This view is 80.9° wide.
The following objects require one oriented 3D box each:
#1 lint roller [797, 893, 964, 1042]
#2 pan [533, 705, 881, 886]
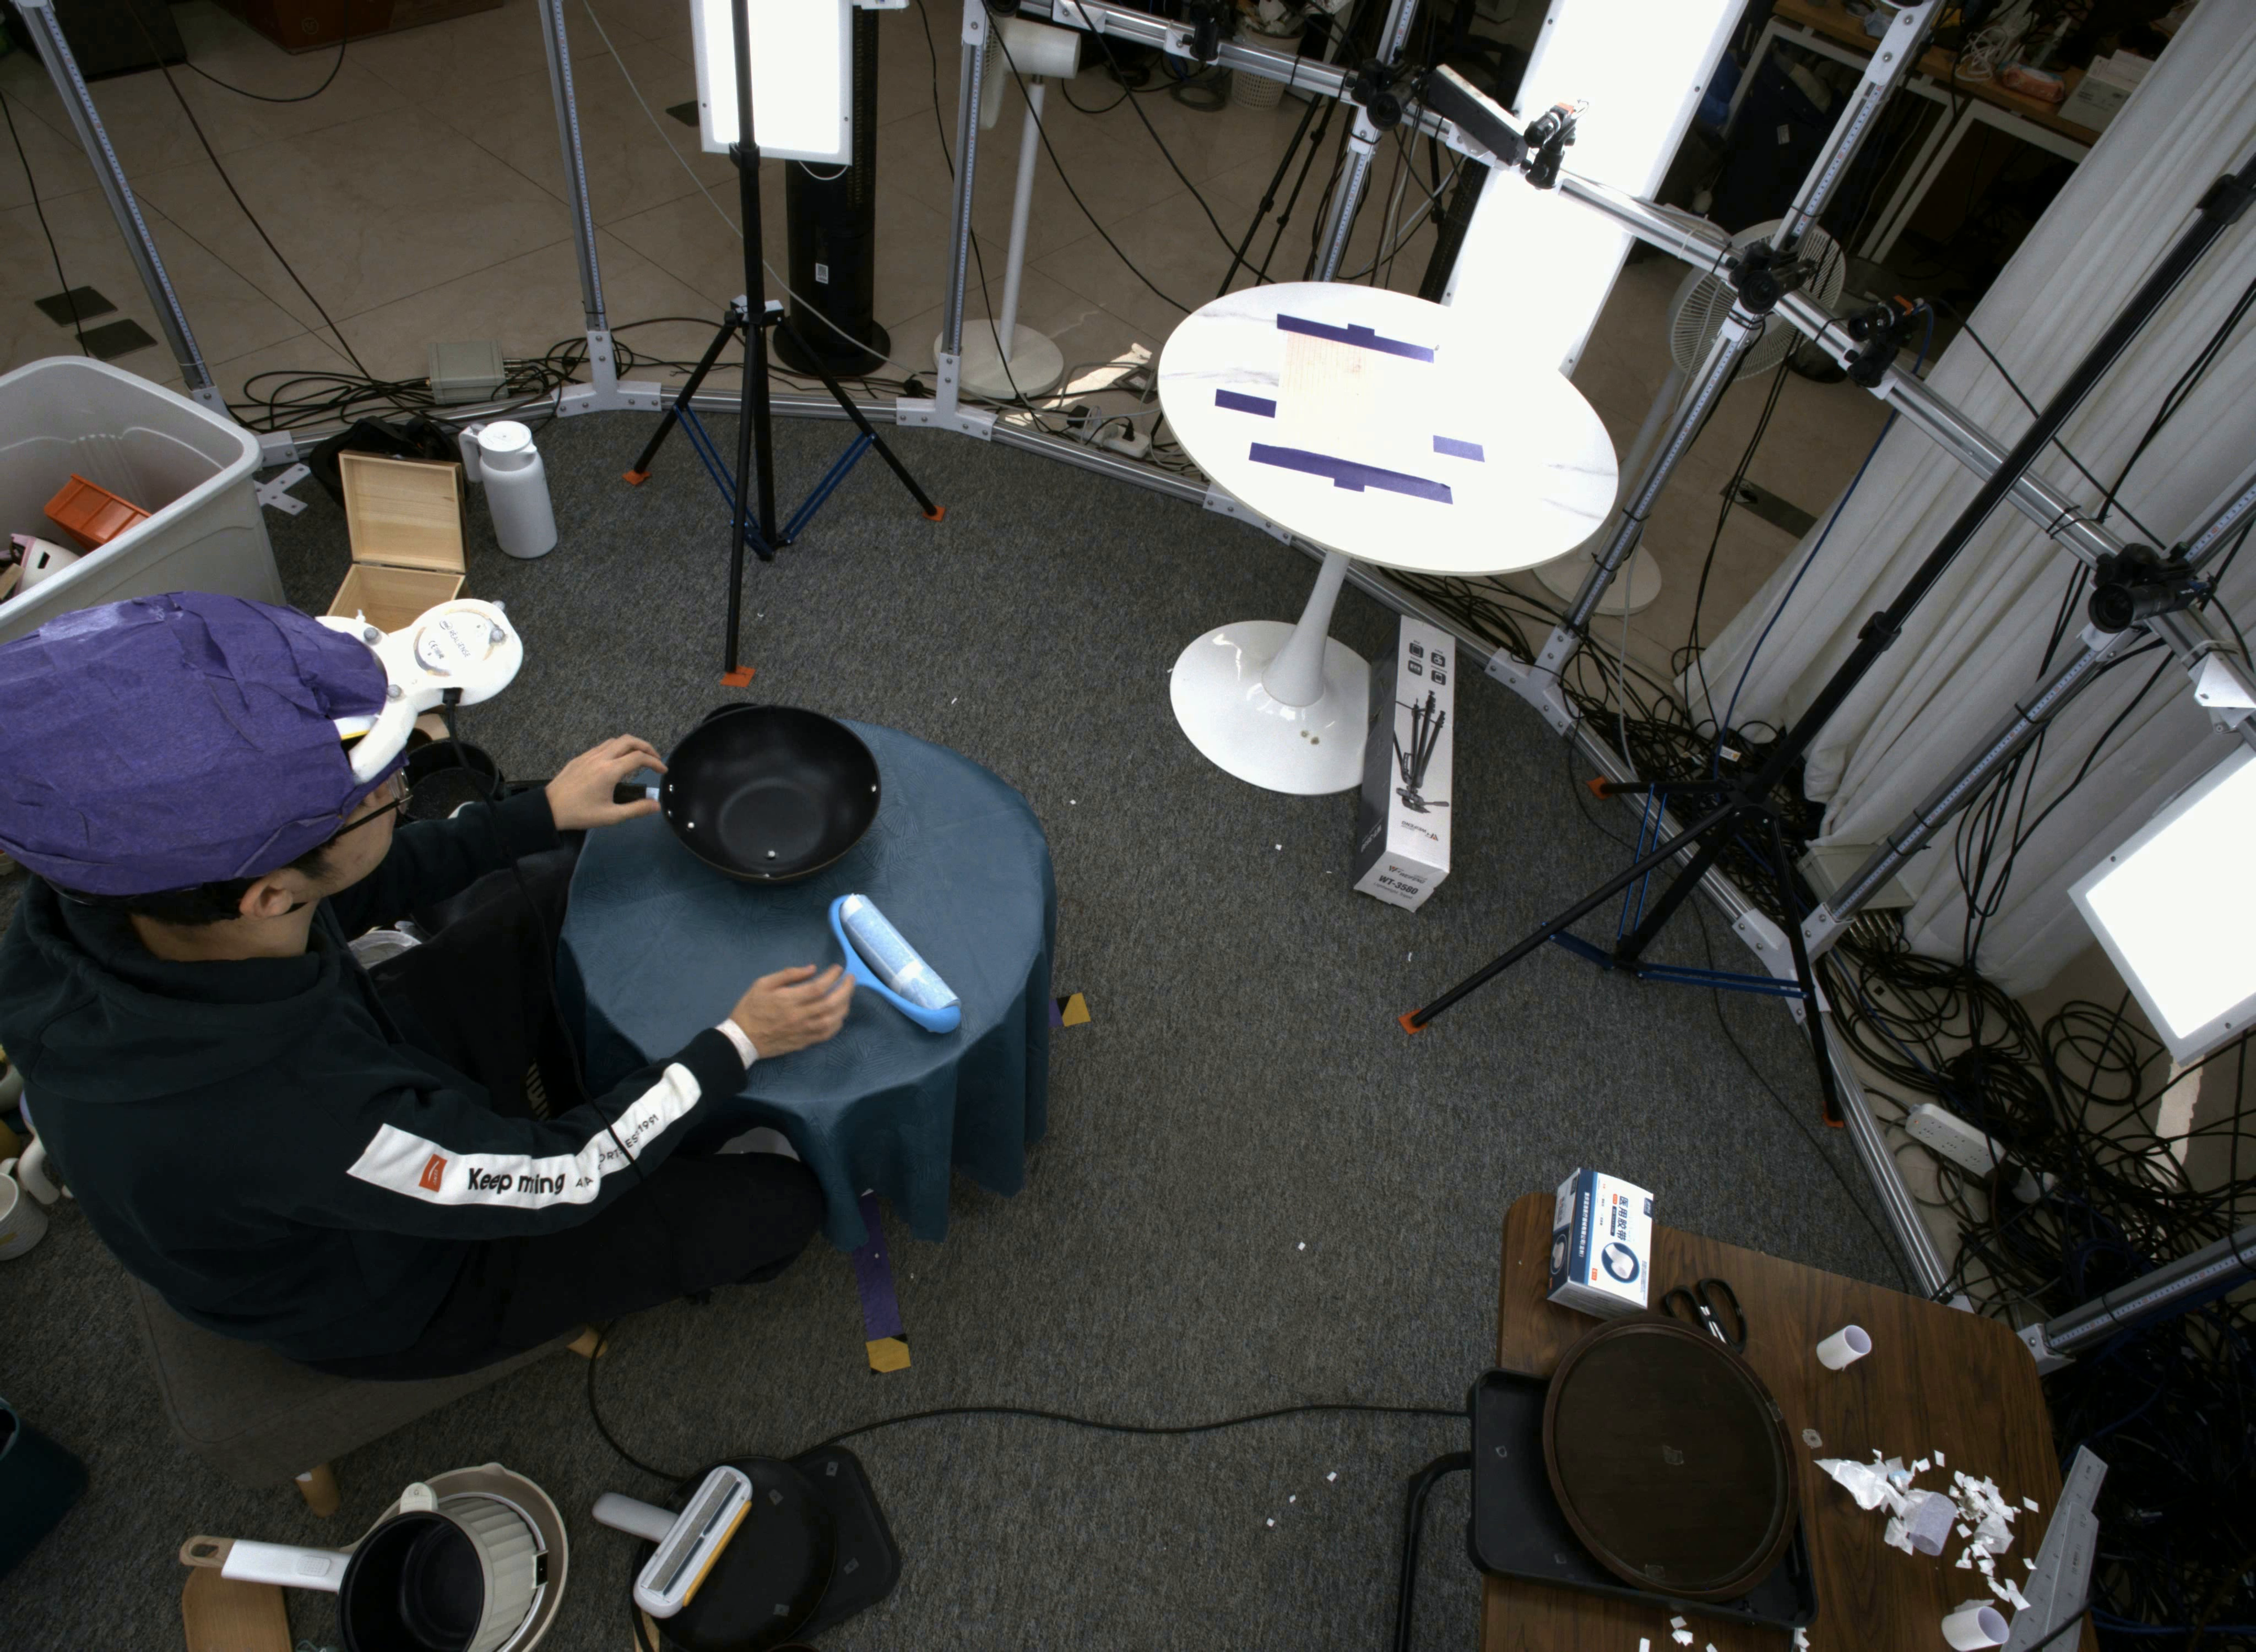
[{"bbox_3d":[-0.325,0.192,1.578,0.224,0.069,0.180,42,55,15],"label":"lint roller"},{"bbox_3d":[-0.550,-0.025,1.662,0.464,0.088,0.282,-2,54,-15],"label":"pan"}]
